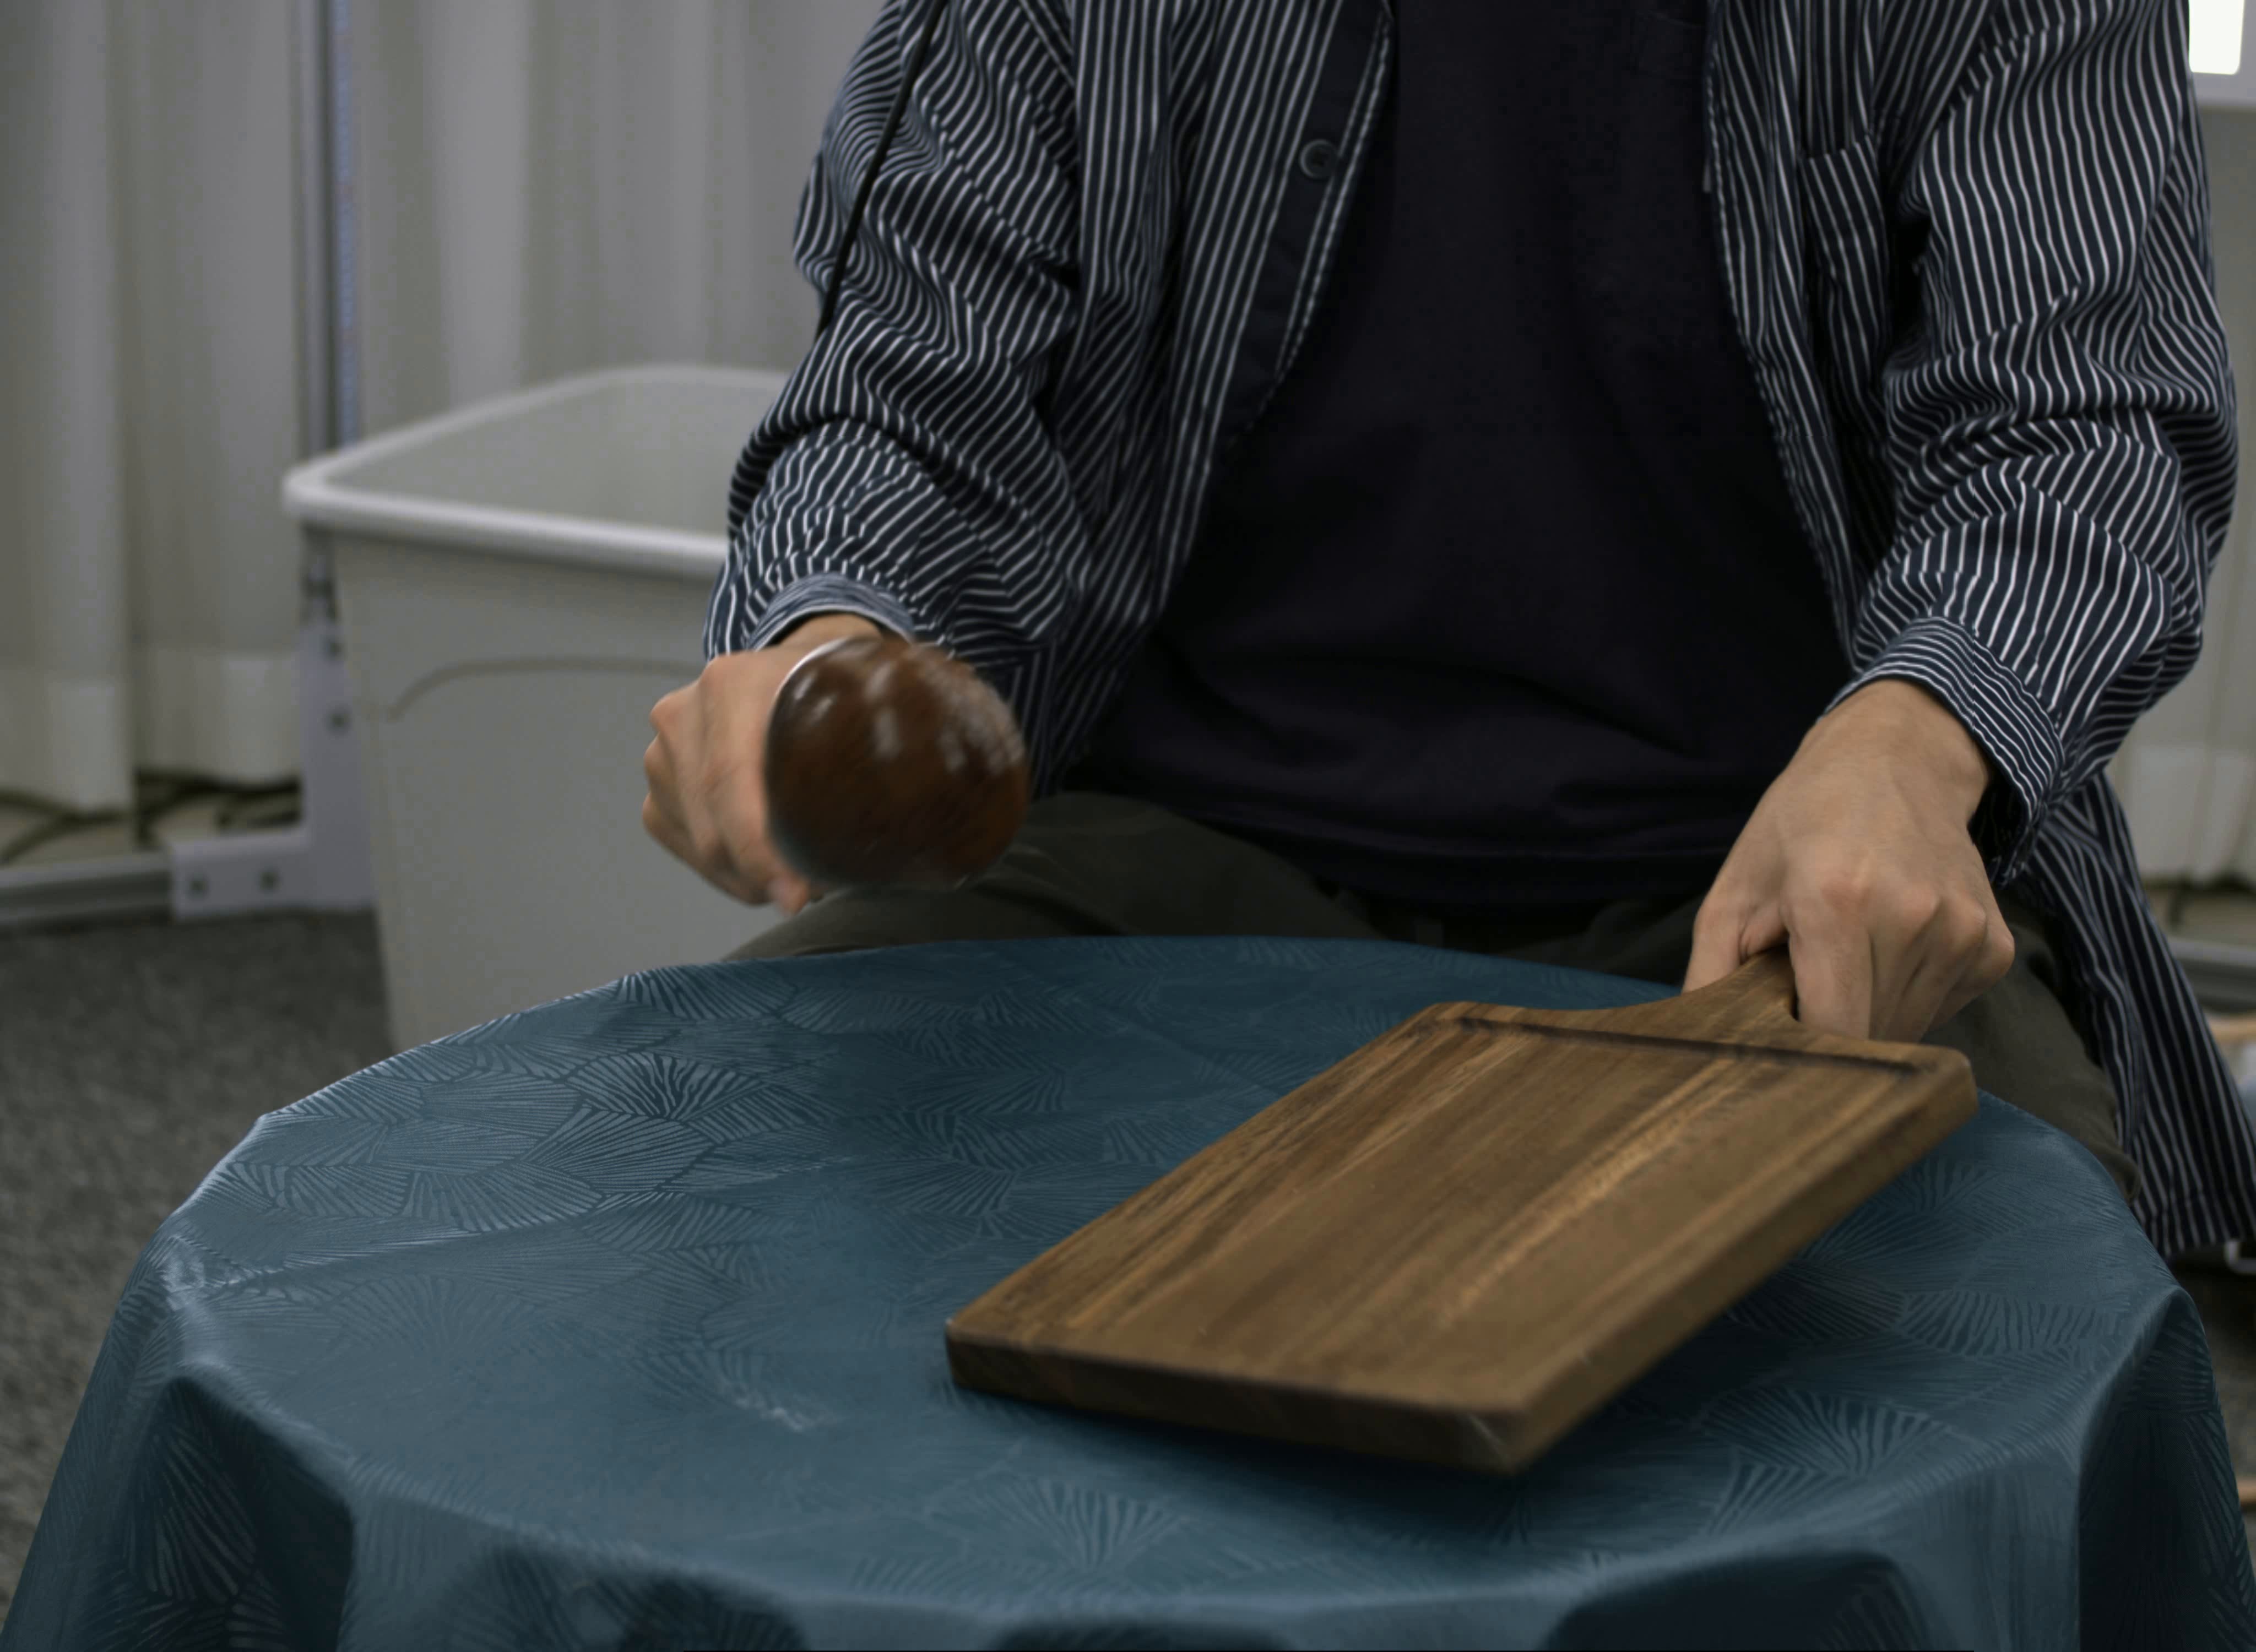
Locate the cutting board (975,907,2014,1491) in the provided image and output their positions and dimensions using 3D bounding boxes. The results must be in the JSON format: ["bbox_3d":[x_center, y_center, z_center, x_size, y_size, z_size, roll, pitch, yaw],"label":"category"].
[{"bbox_3d":[0.136,0.095,1.522,0.198,0.023,0.353,5,24,39],"label":"cutting board"}]

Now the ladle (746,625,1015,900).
[{"bbox_3d":[-0.081,-0.014,1.594,0.076,0.082,0.273,-36,2,-4],"label":"ladle"}]
